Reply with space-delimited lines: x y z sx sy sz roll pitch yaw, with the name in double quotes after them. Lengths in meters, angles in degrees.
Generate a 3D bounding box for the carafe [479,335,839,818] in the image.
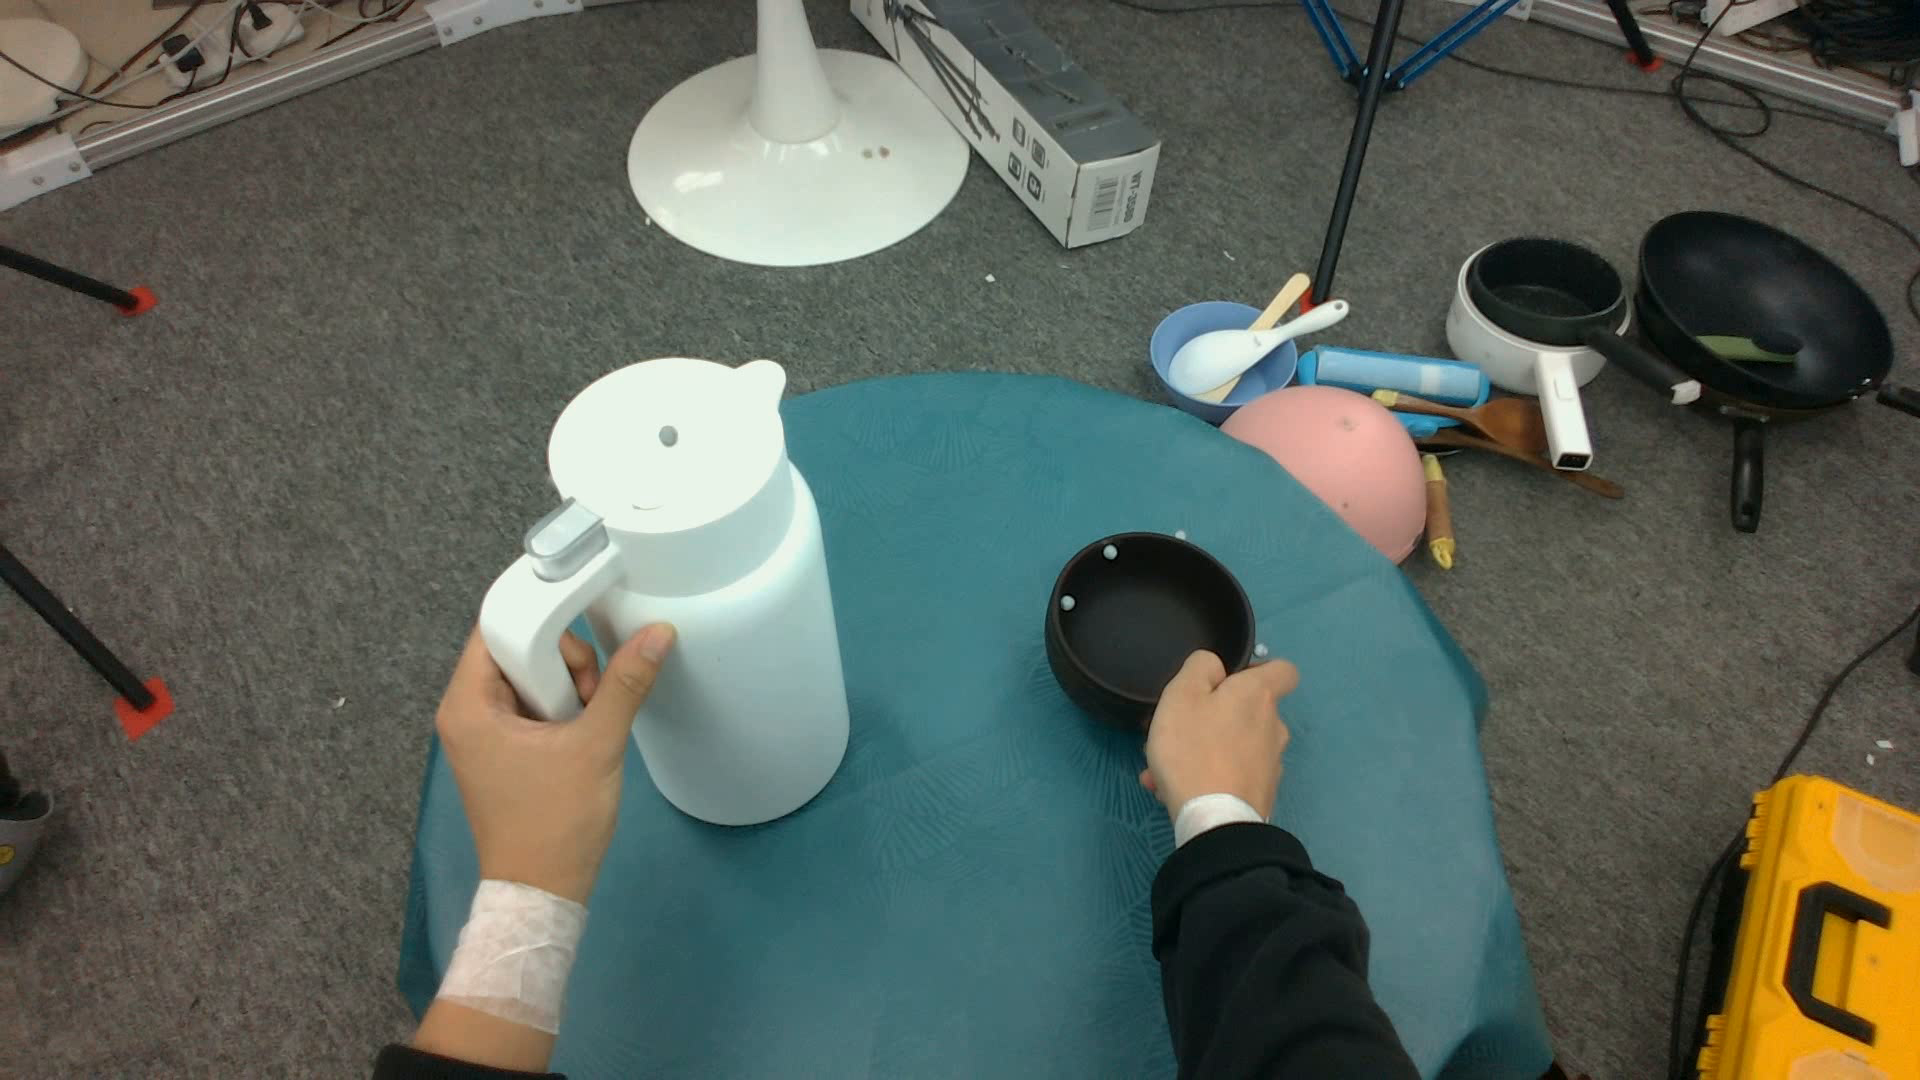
-0.136 0.042 0.679 0.124 0.267 0.173 31 59 19 "carafe"

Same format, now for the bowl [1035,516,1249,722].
0.100 0.052 0.789 0.118 0.069 0.118 3 55 -4 "bowl"
